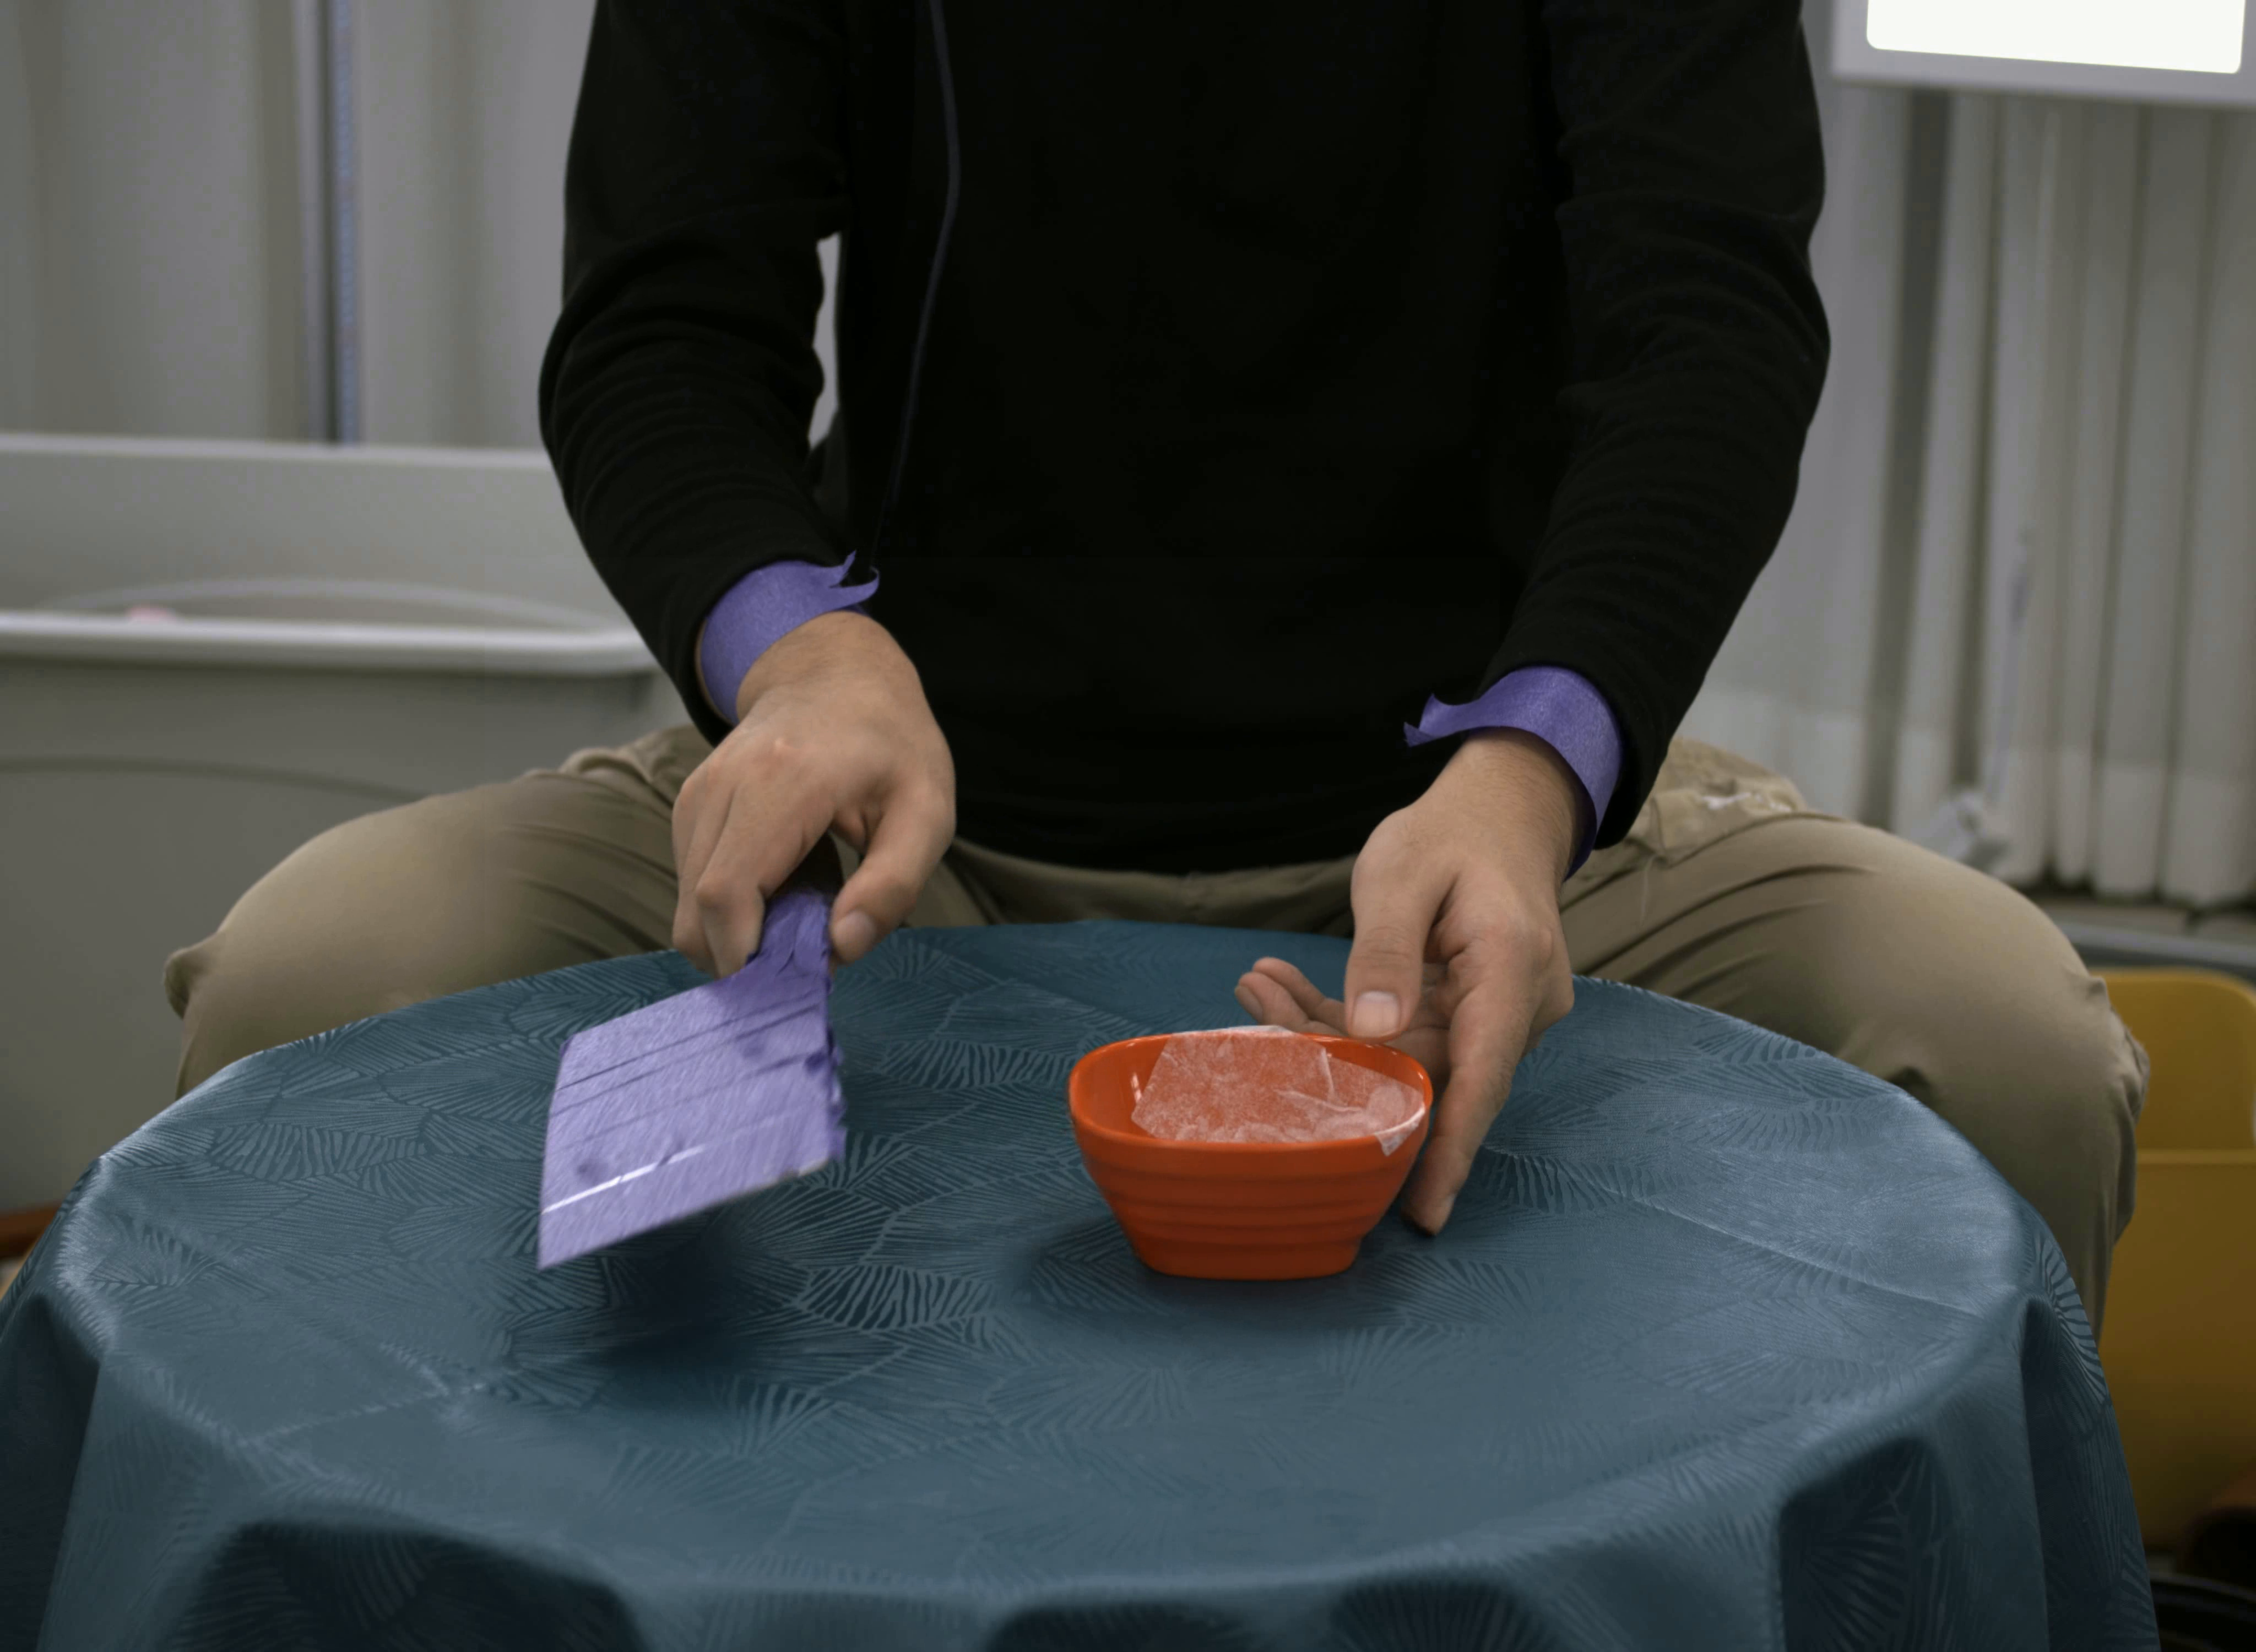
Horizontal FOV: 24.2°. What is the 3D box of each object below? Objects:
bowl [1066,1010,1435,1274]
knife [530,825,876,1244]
[{"bbox_3d":[0.037,0.097,1.571,0.118,0.052,0.118,-1,19,1],"label":"bowl"},{"bbox_3d":[-0.130,0.059,1.598,0.103,0.032,0.313,-20,14,1],"label":"knife"}]
